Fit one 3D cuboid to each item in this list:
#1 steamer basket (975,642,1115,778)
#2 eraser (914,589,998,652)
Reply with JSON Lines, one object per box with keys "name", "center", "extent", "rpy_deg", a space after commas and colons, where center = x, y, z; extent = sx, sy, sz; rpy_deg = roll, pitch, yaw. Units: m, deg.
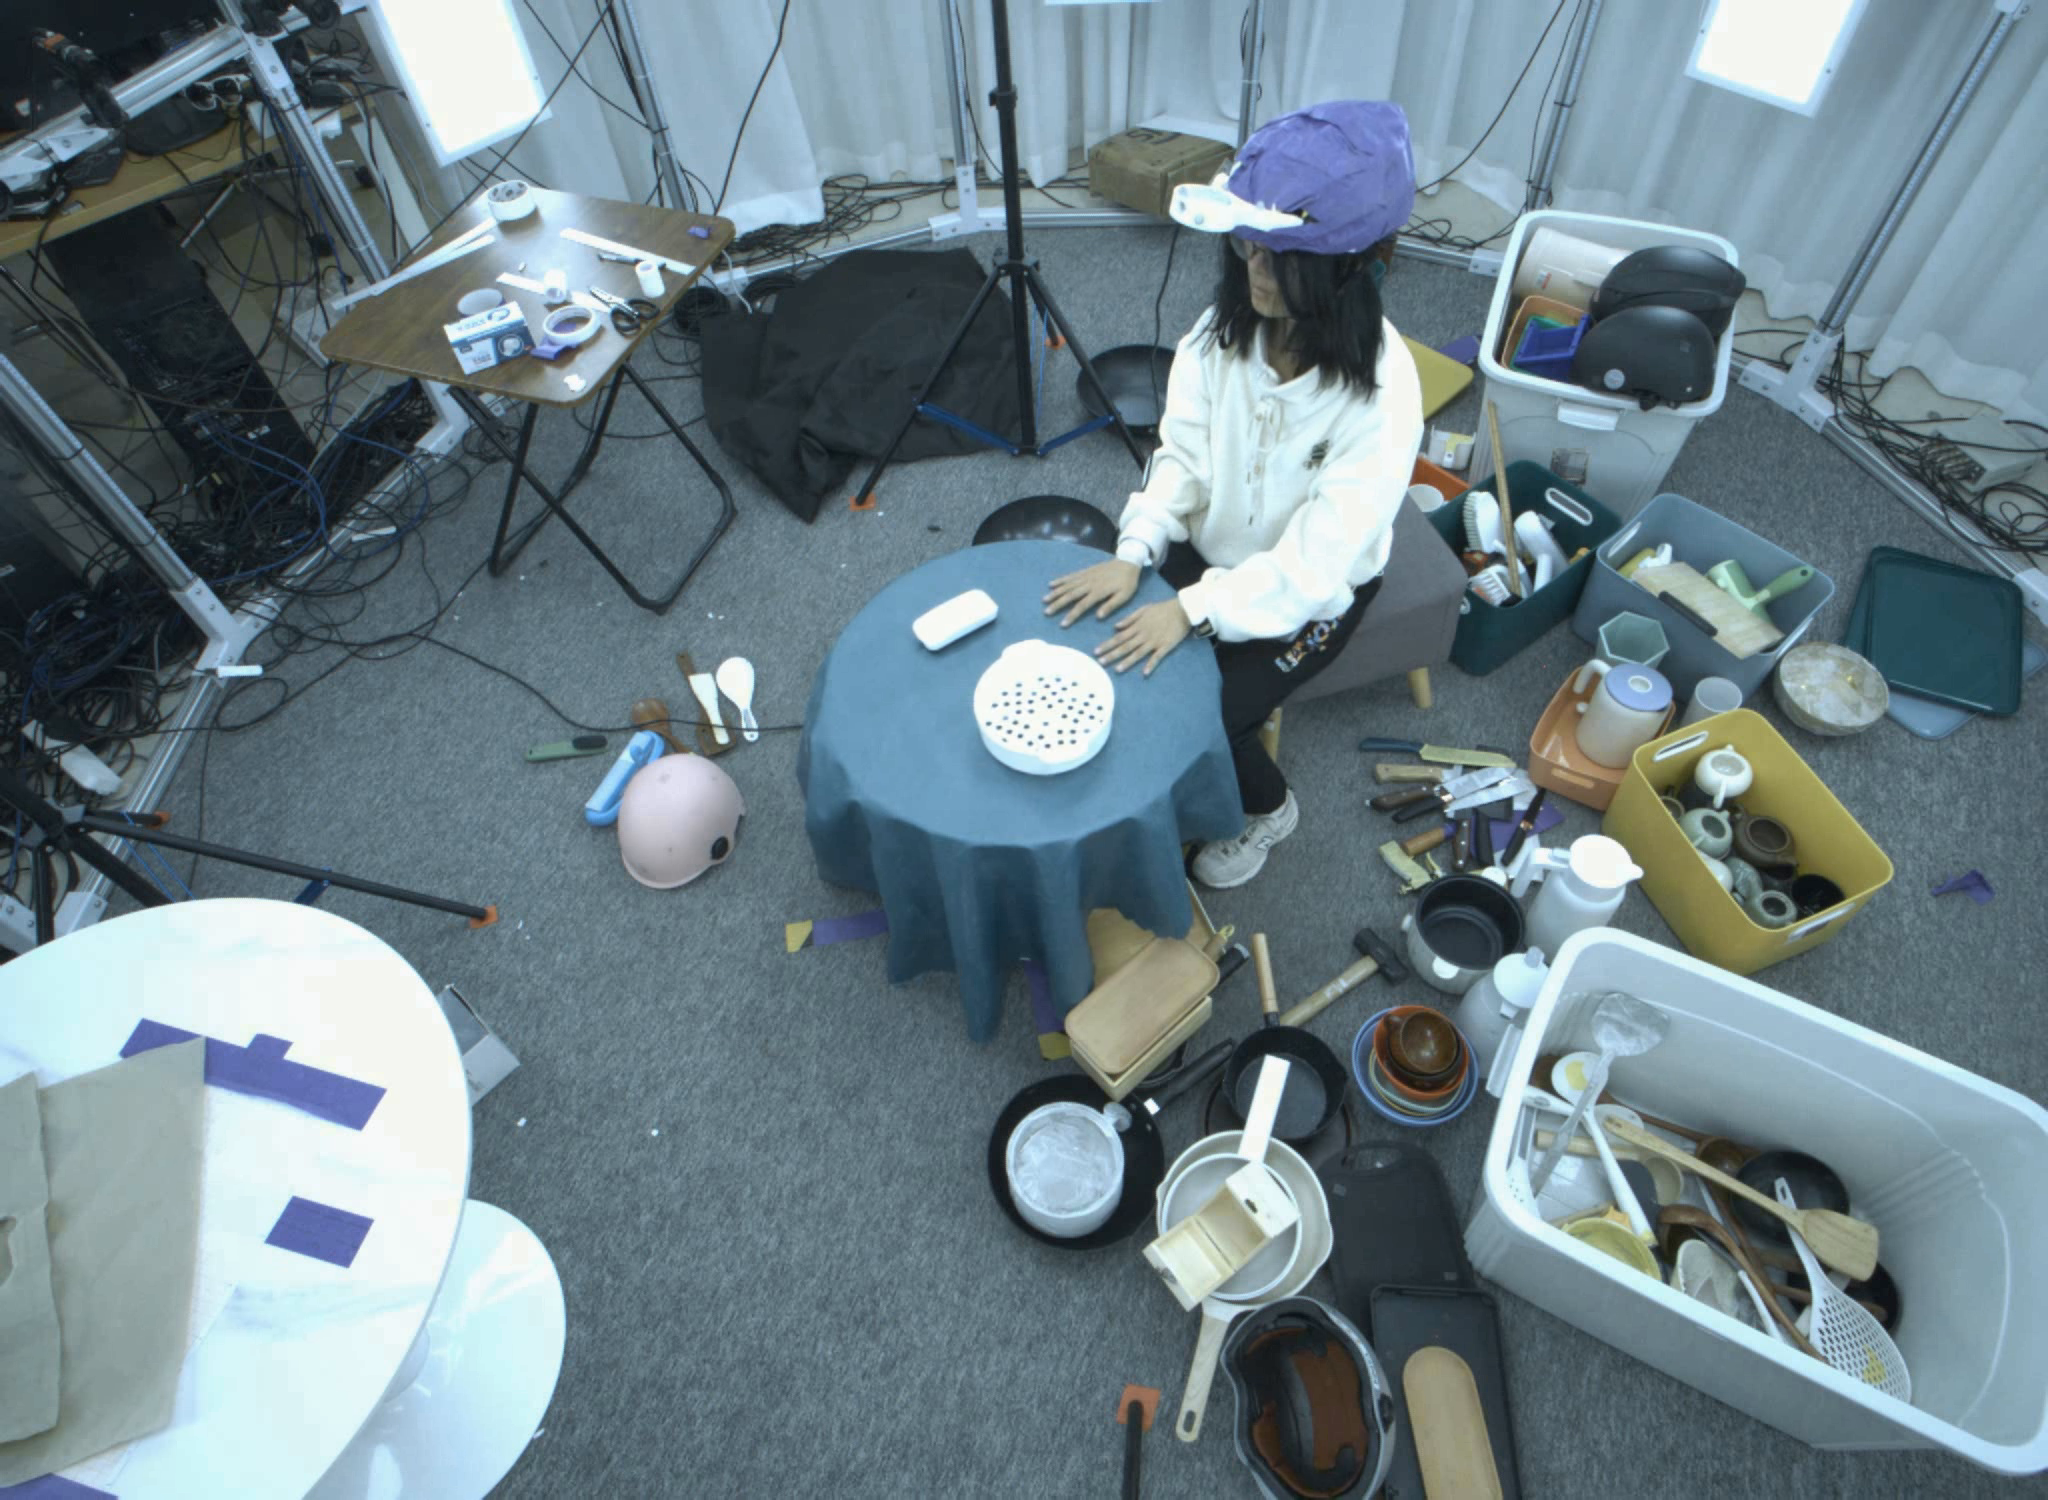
{"name": "steamer basket", "center": [0.031, -0.053, 1.783], "extent": [0.203, 0.070, 0.227], "rpy_deg": [-15, 57, -9]}
{"name": "eraser", "center": [-0.106, -0.203, 1.916], "extent": [0.132, 0.035, 0.062], "rpy_deg": [-30, 58, -17]}
